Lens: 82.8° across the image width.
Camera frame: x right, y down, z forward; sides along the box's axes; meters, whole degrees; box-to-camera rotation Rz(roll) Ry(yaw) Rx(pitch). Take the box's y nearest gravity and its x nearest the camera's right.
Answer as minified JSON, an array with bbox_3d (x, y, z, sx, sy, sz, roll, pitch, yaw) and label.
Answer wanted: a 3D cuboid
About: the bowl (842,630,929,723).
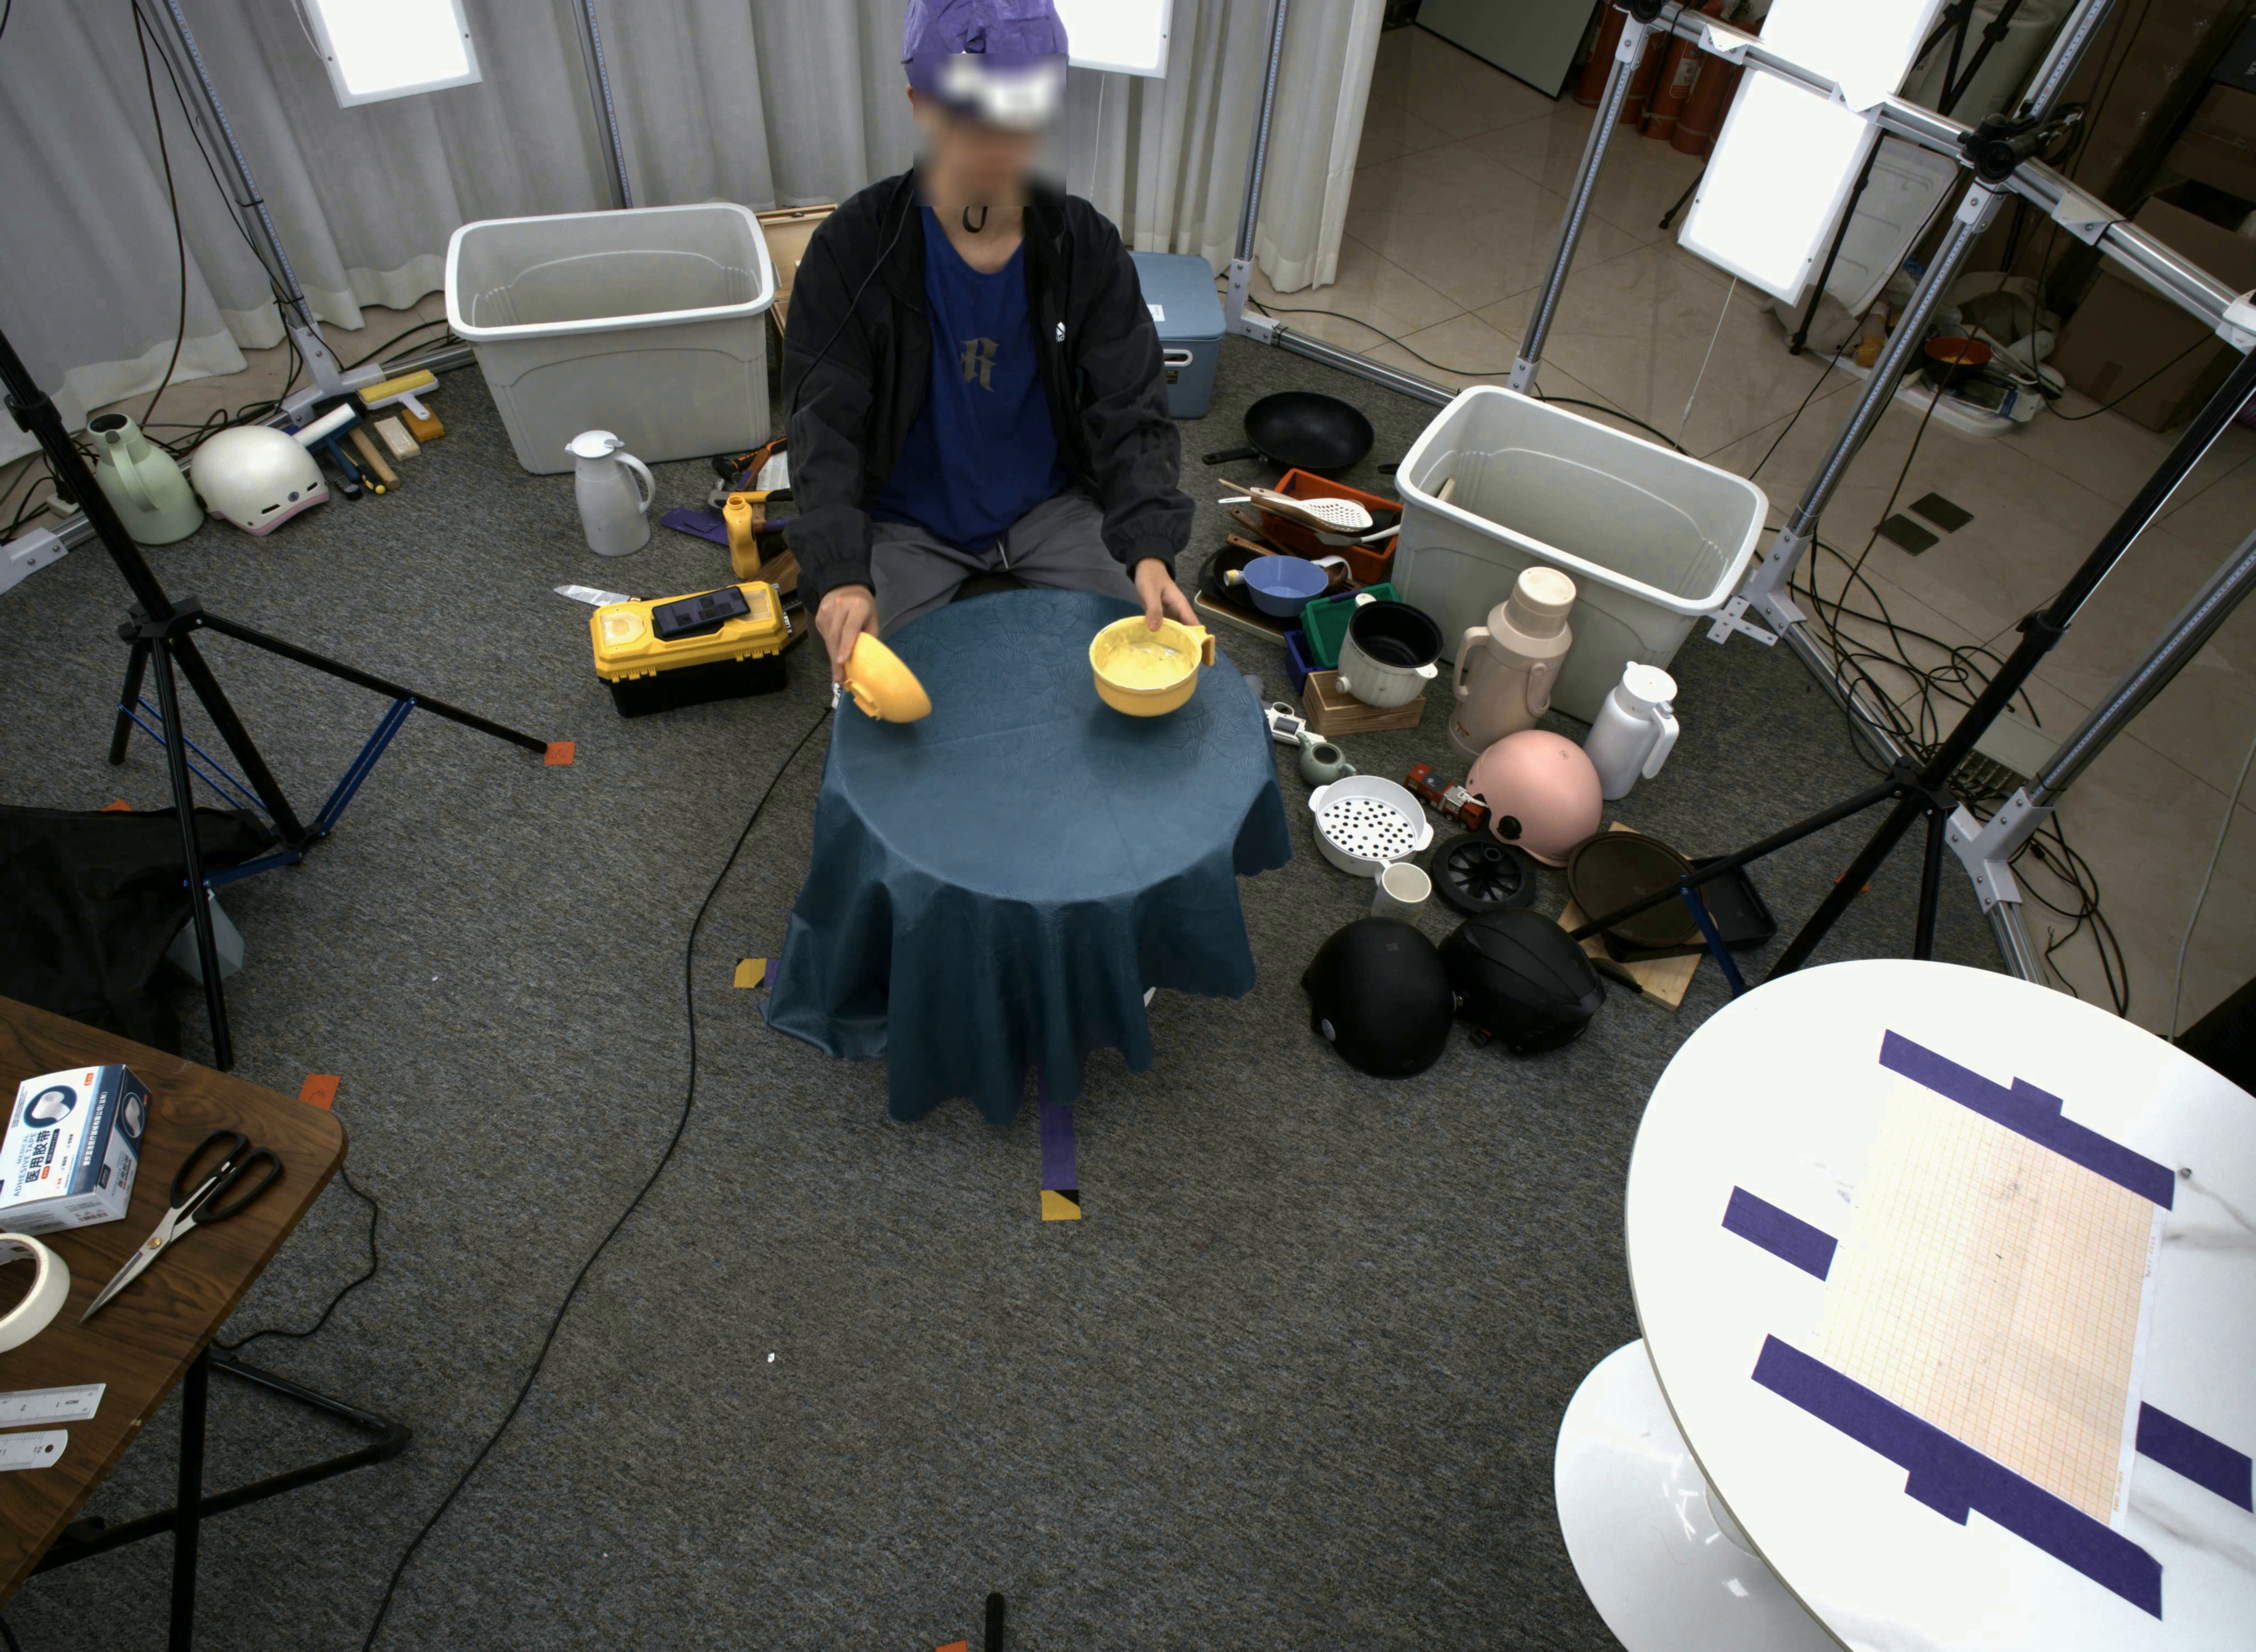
[{"bbox_3d":[-0.333,-0.185,1.706,0.060,0.142,0.147,-43,64,-13],"label":"bowl"}]

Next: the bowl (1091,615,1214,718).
[{"bbox_3d":[0.038,-0.220,1.767,0.180,0.072,0.156,-28,52,-21],"label":"bowl"}]
